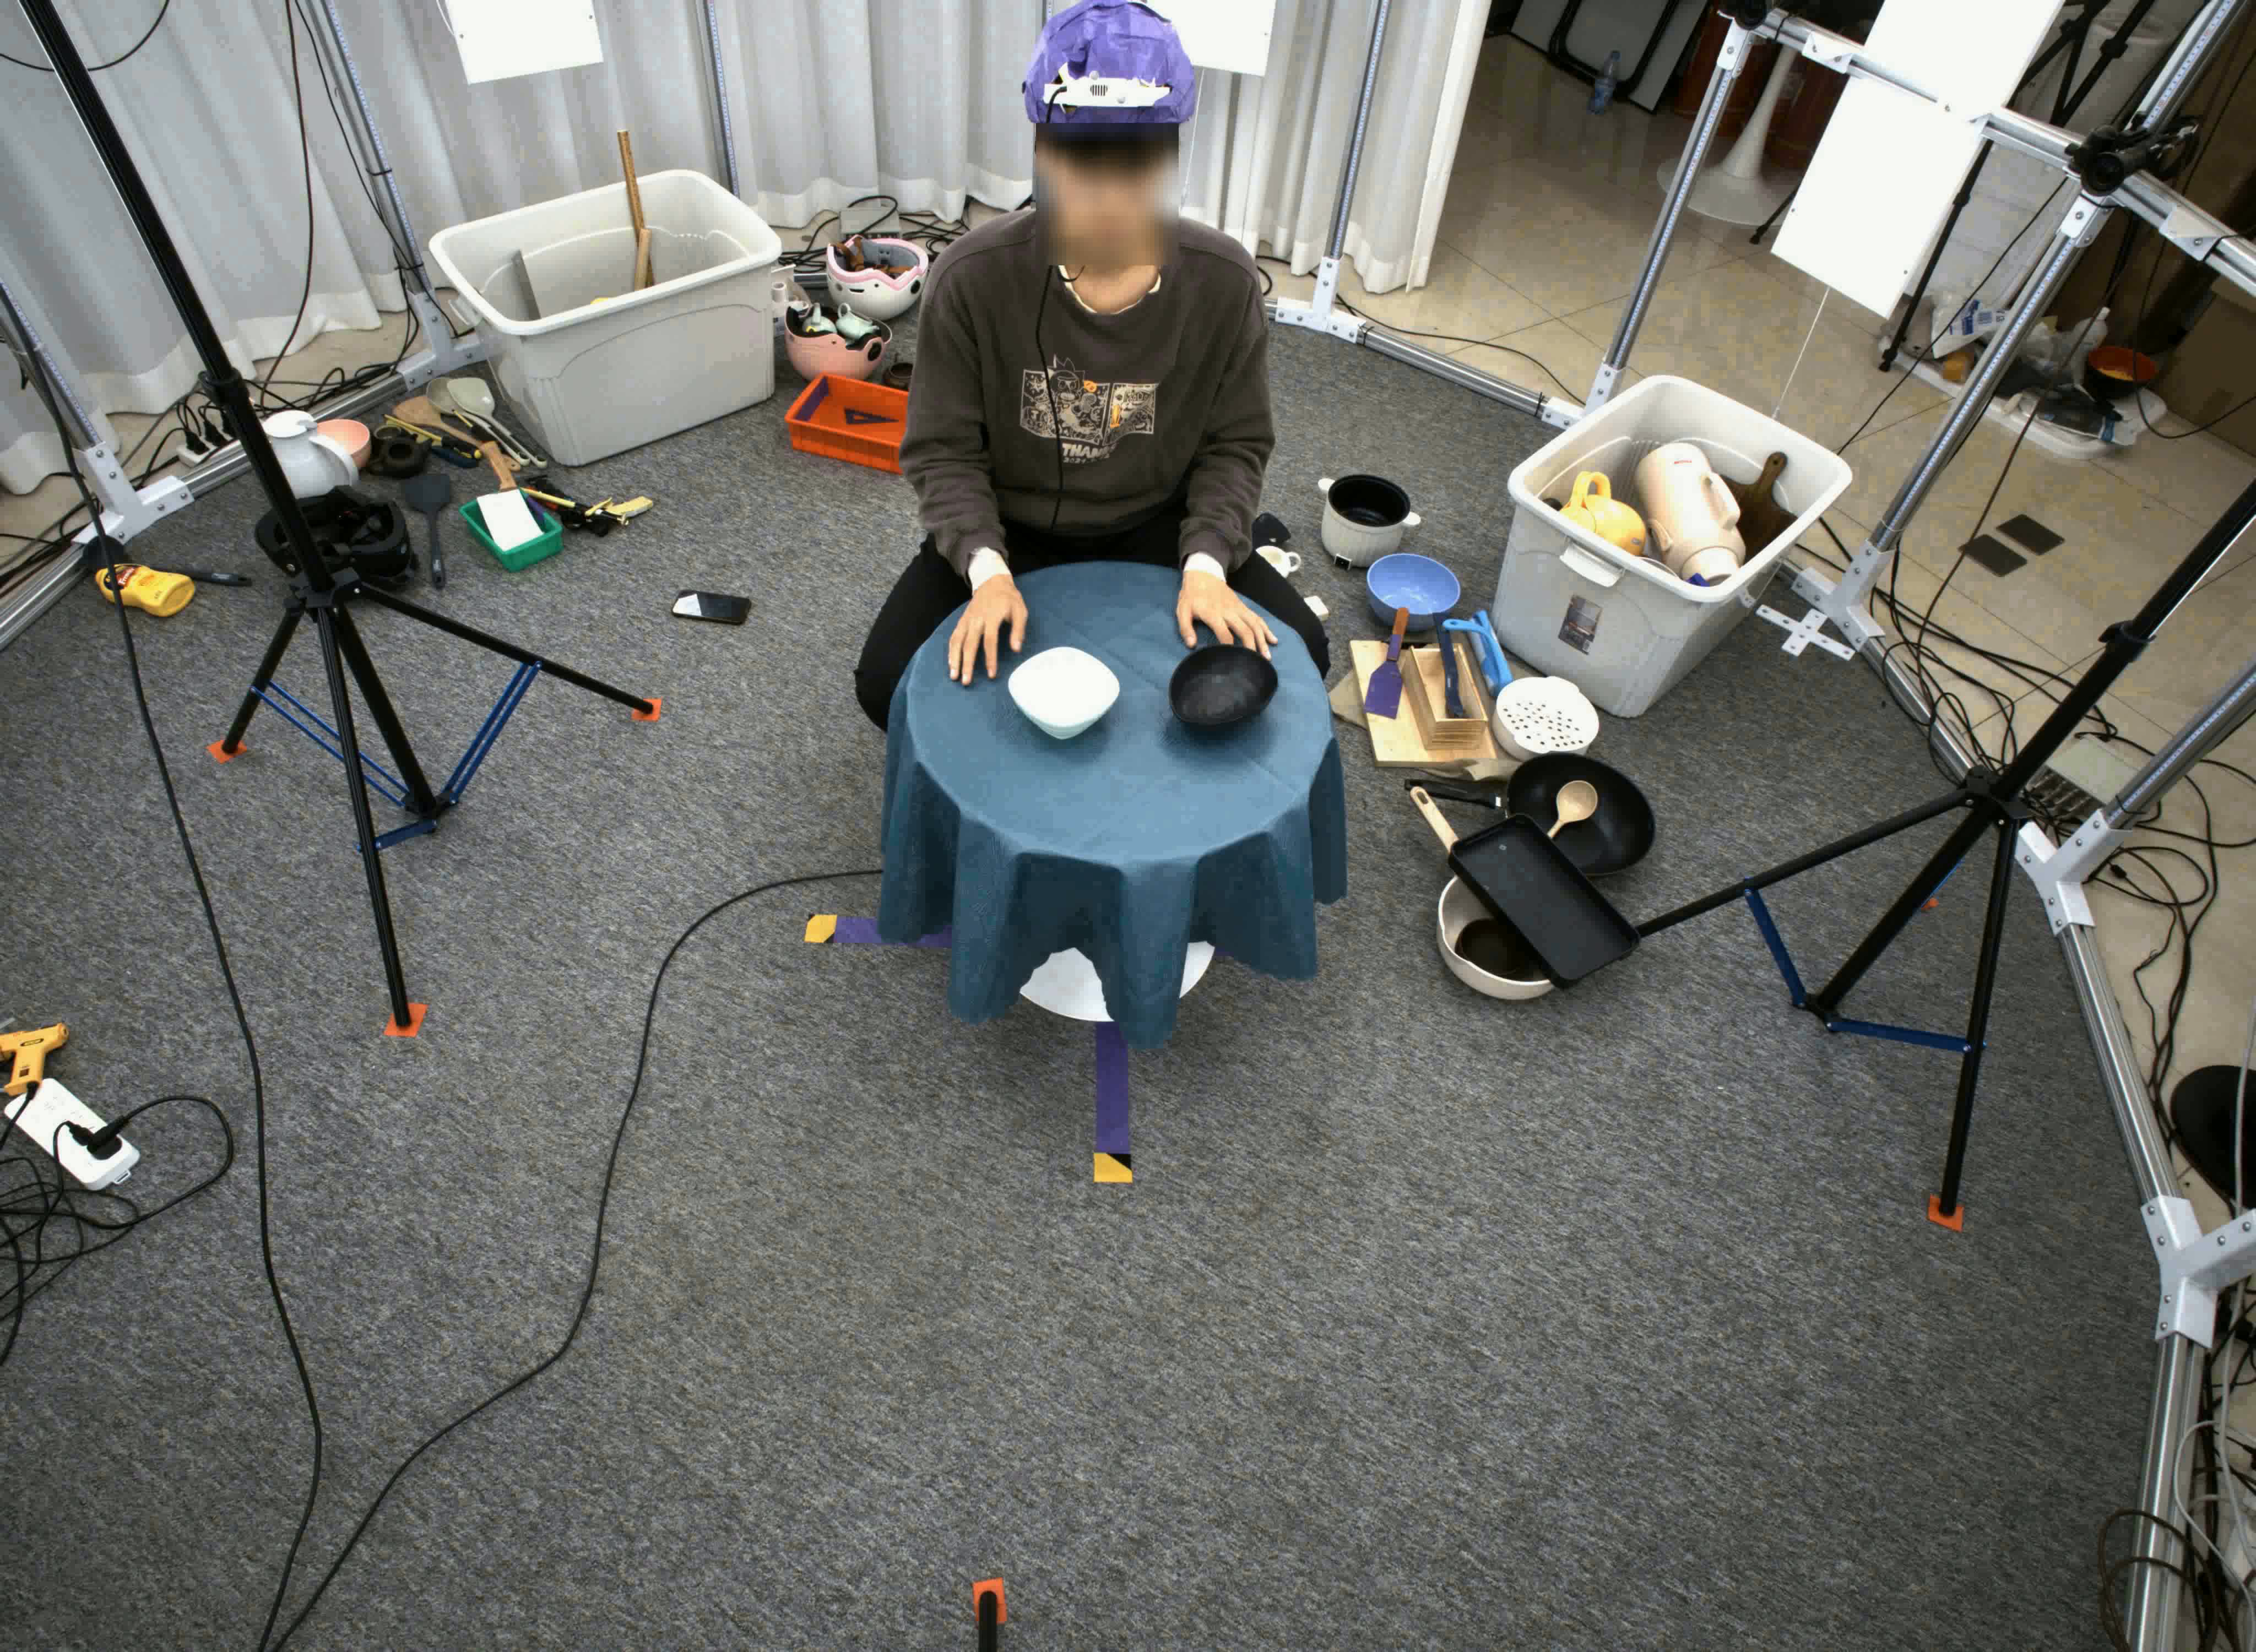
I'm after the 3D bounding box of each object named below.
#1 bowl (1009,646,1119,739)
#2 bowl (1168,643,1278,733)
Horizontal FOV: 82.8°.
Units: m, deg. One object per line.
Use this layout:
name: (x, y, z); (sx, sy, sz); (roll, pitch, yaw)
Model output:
bowl: (-0.089, -0.176, 1.776); (0.151, 0.057, 0.155); (2, 51, -3)
bowl: (0.131, -0.180, 1.789); (0.139, 0.065, 0.172); (36, 58, 25)
